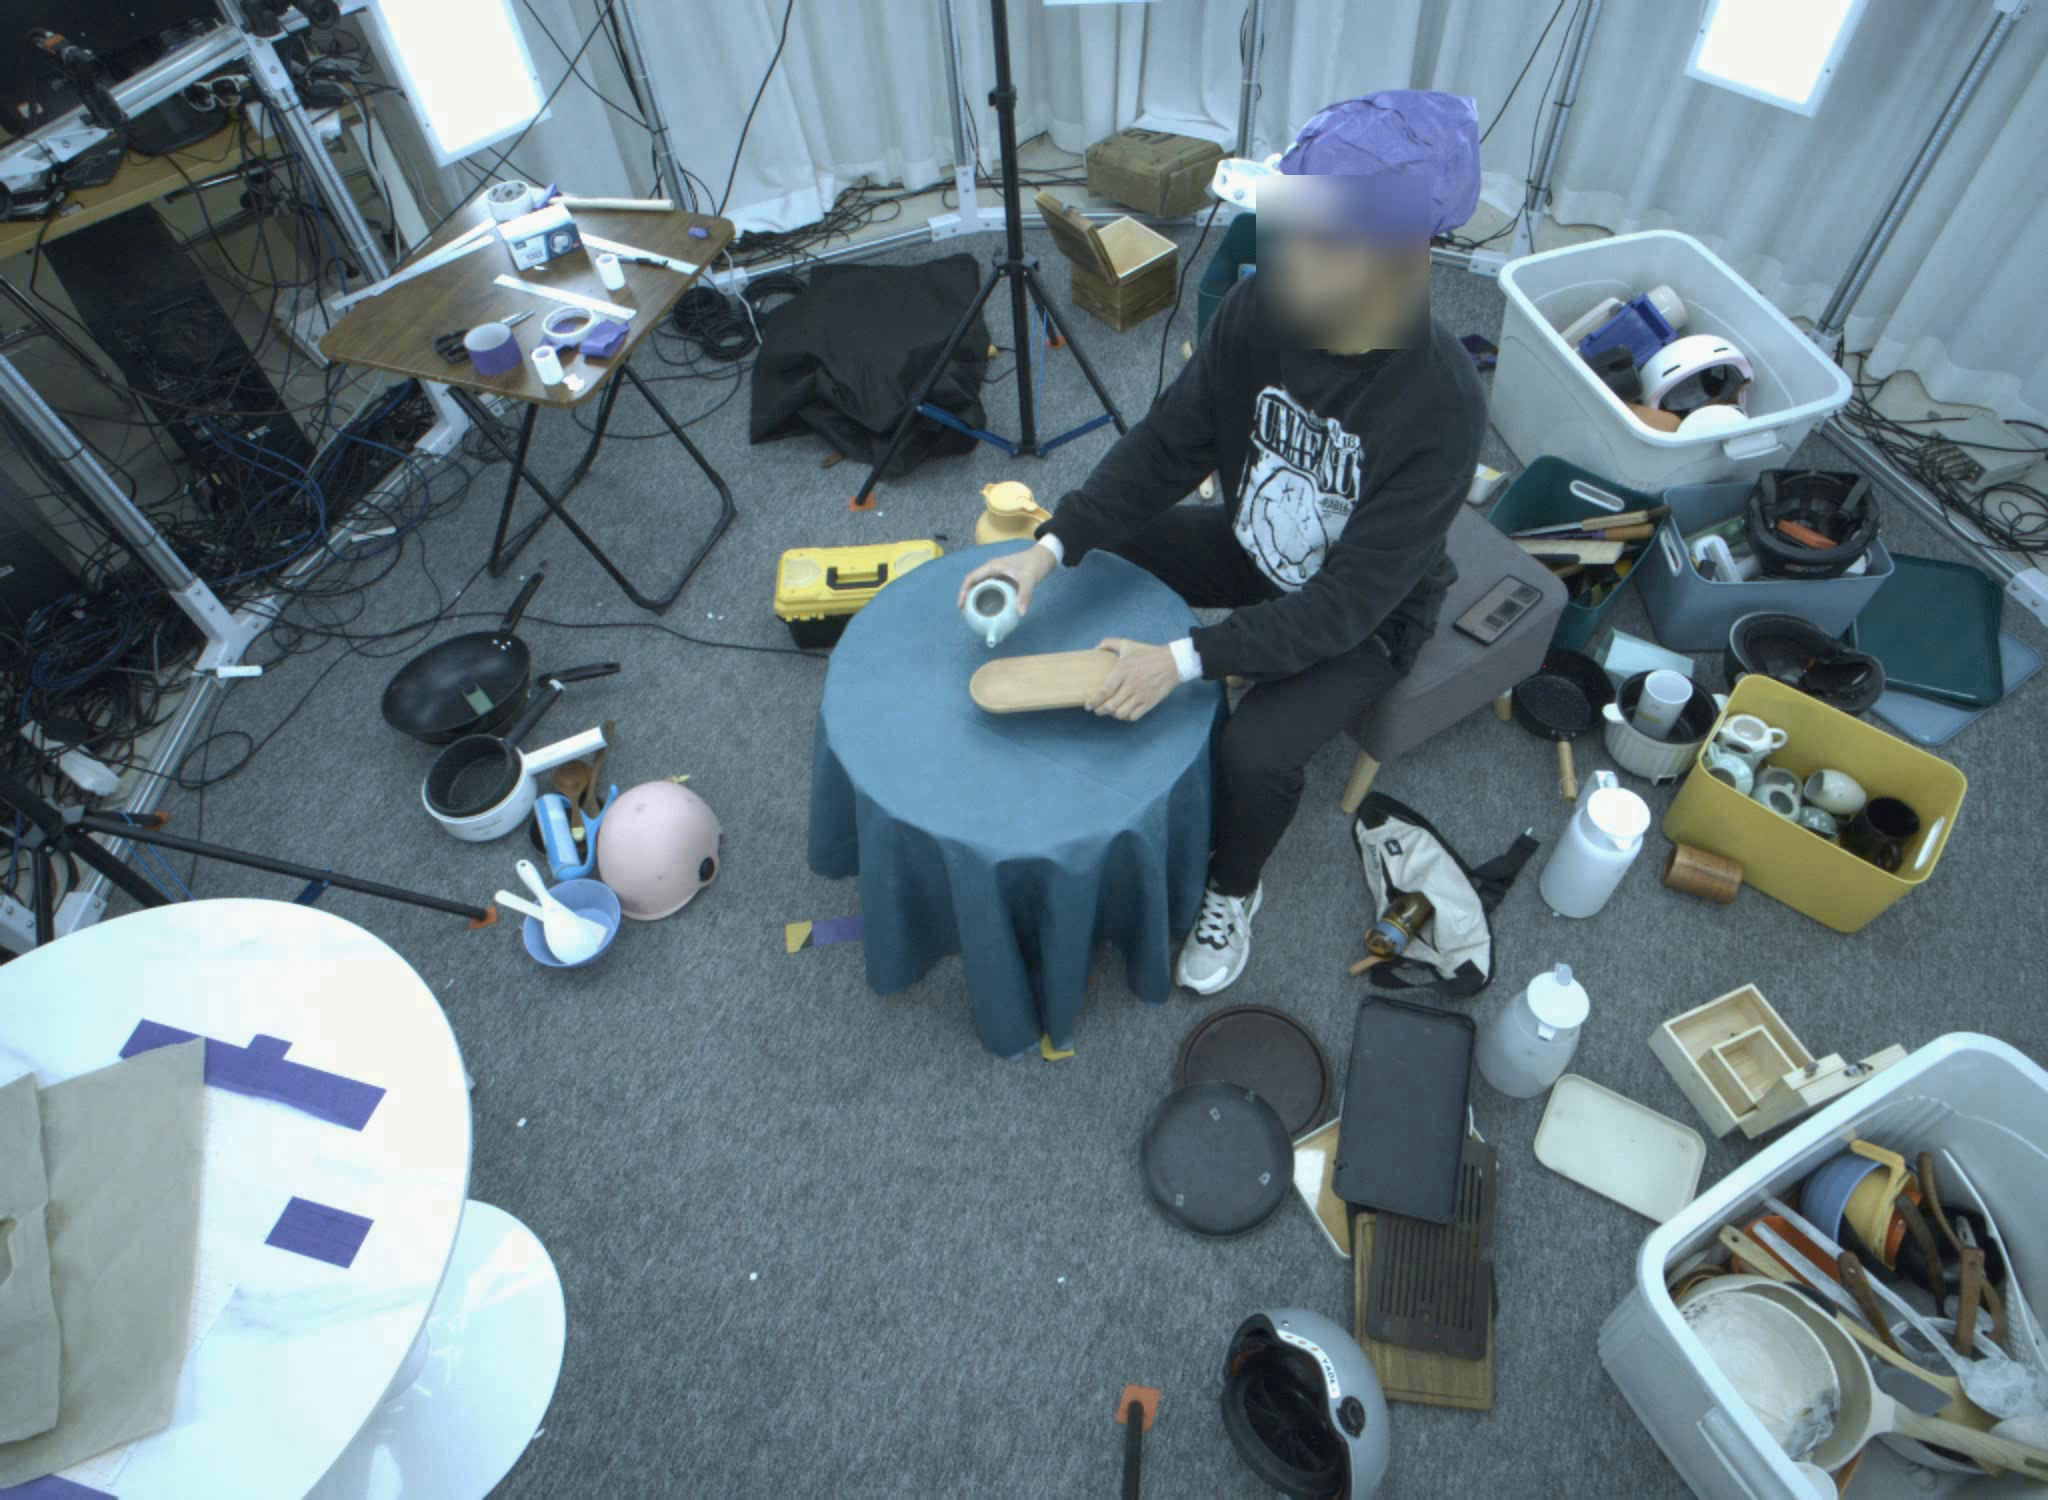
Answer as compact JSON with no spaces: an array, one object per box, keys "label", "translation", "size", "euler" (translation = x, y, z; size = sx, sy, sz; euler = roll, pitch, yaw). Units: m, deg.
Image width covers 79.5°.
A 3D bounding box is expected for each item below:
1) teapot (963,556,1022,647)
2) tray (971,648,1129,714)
[{"label":"teapot","translation":[-0.047,-0.211,1.825],"size":[0.088,0.075,0.143],"euler":[-3,76,6]},{"label":"tray","translation":[0.038,-0.100,1.791],"size":[0.231,0.020,0.100],"euler":[-5,53,3]}]
